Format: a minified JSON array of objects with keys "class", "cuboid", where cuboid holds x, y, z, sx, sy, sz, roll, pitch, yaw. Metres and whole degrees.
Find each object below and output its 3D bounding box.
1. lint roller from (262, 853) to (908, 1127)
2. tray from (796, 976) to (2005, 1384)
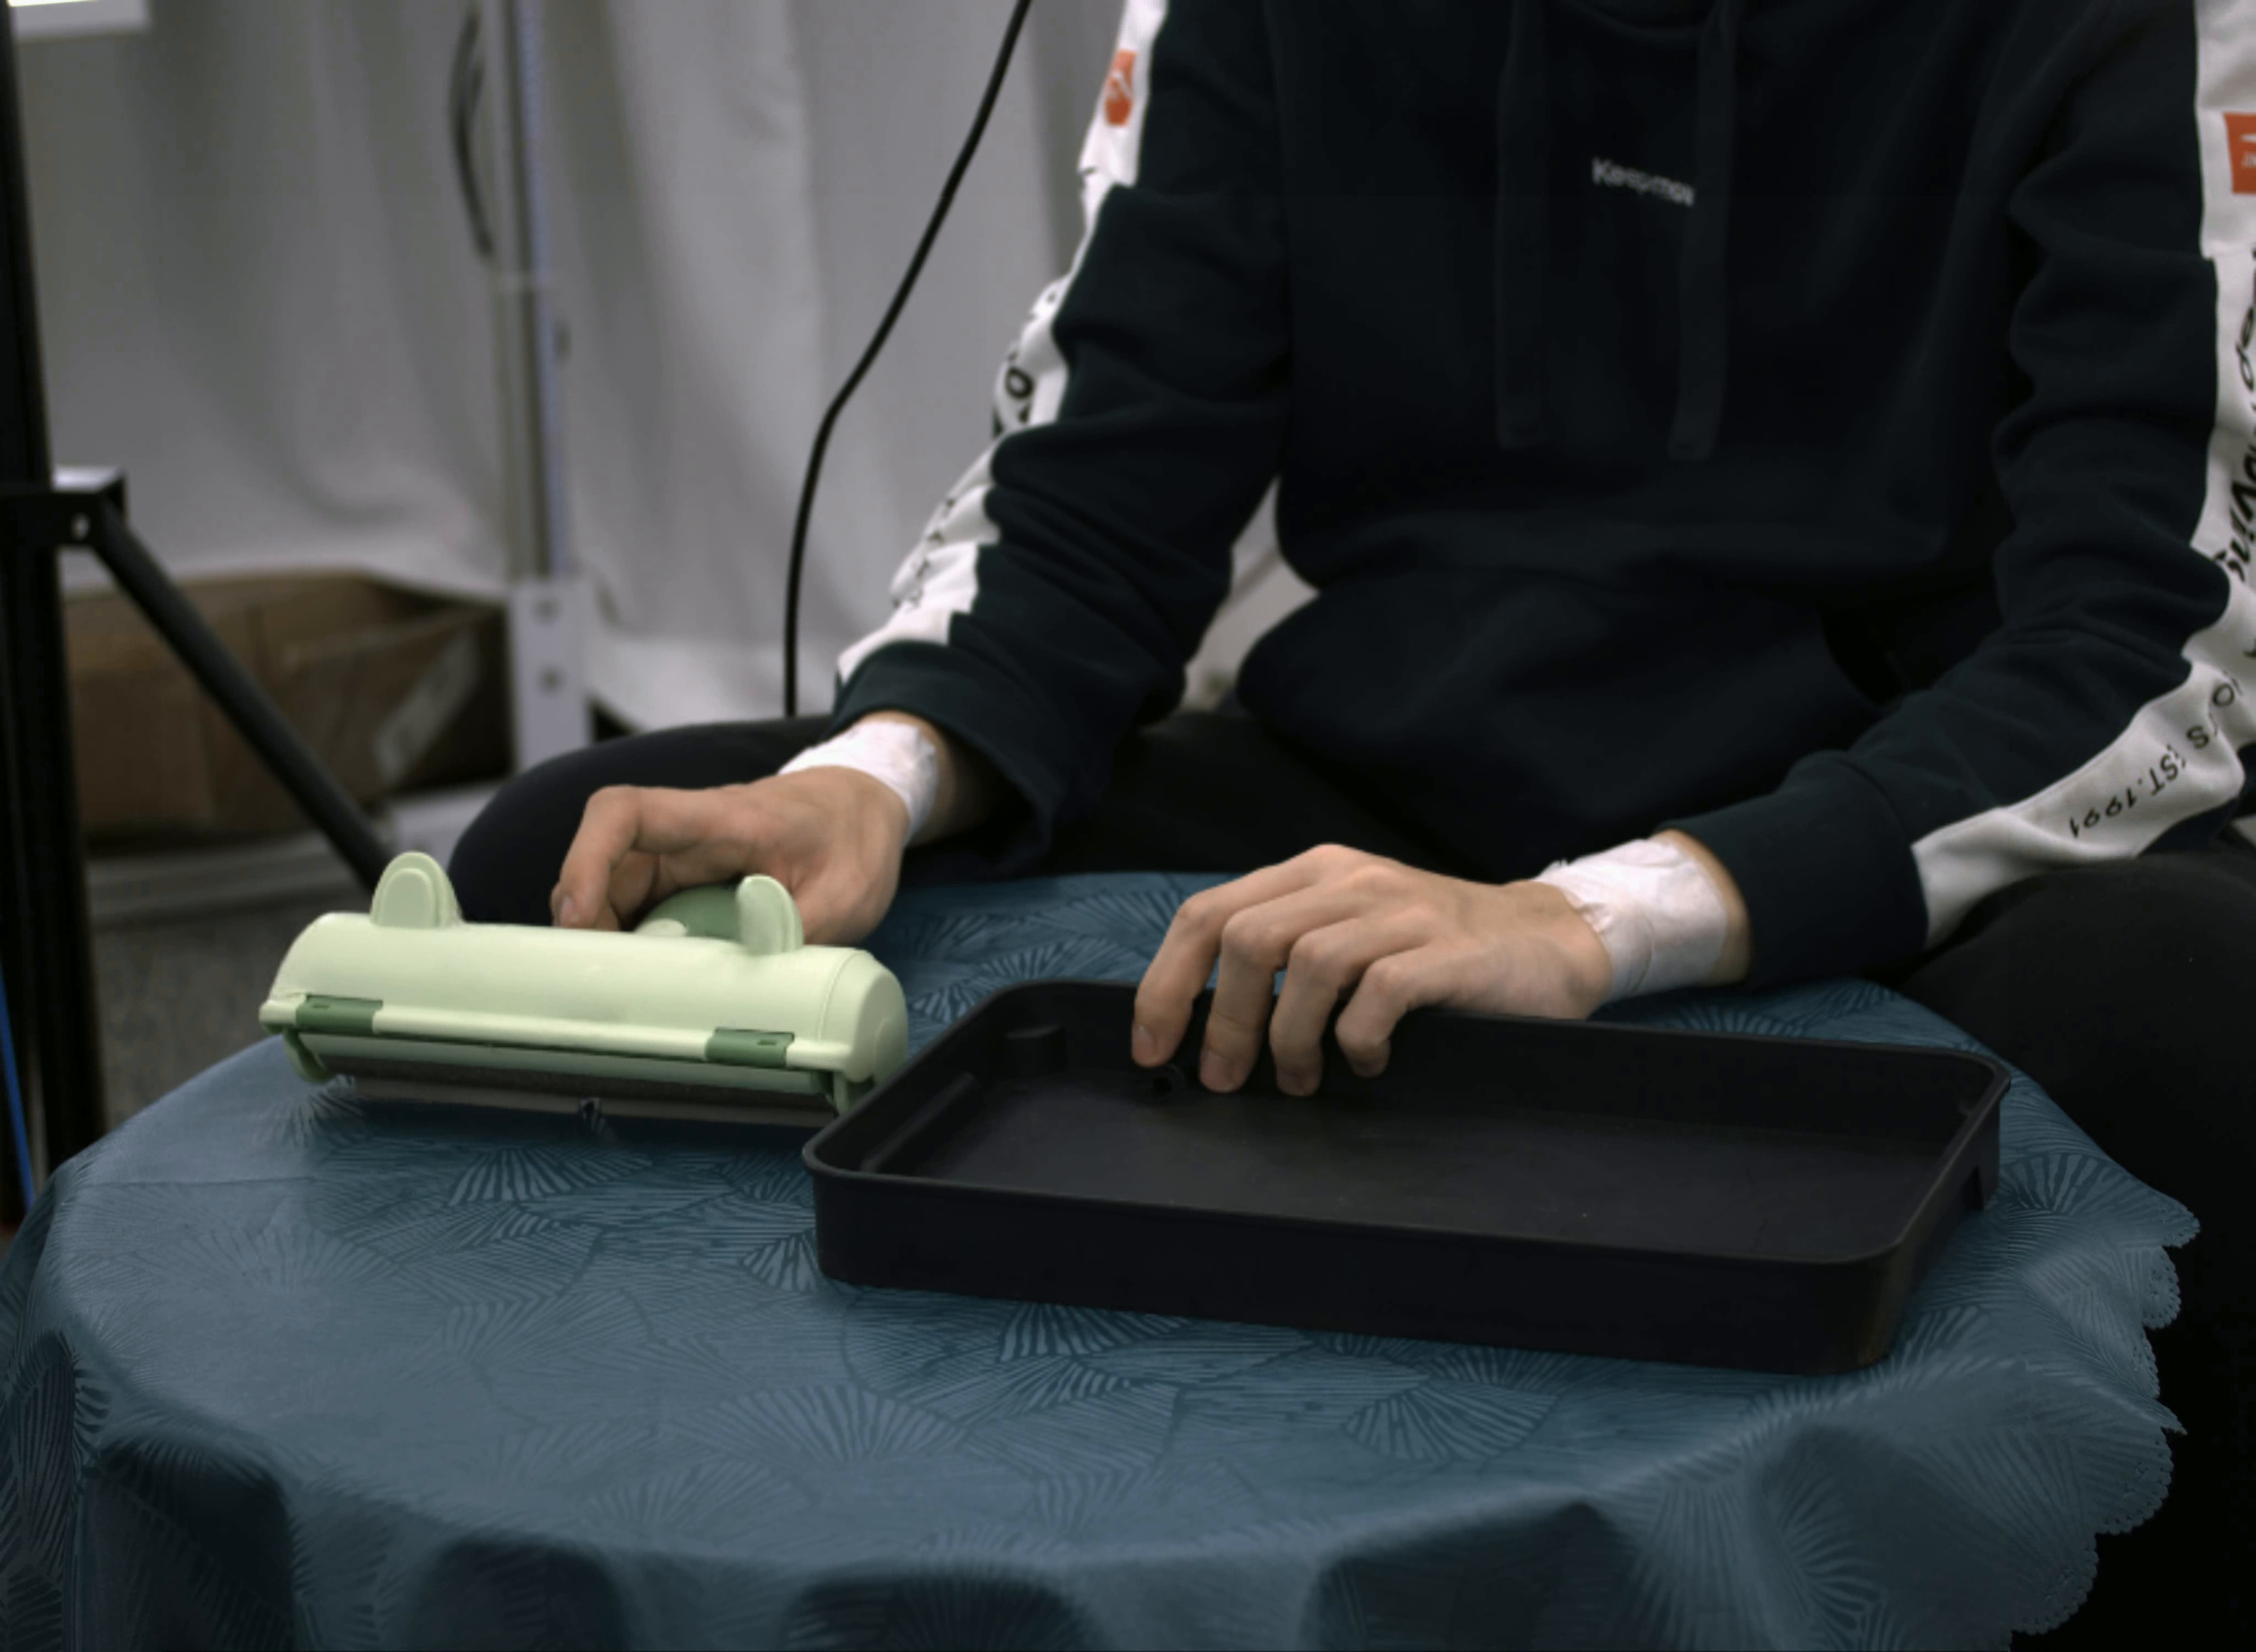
[{"class":"lint roller","cuboid":[-0.150,0.032,1.692,0.201,0.082,0.182,3,24,20]},{"class":"tray","cuboid":[0.080,0.098,1.515,0.322,0.037,0.182,4,17,23]}]
